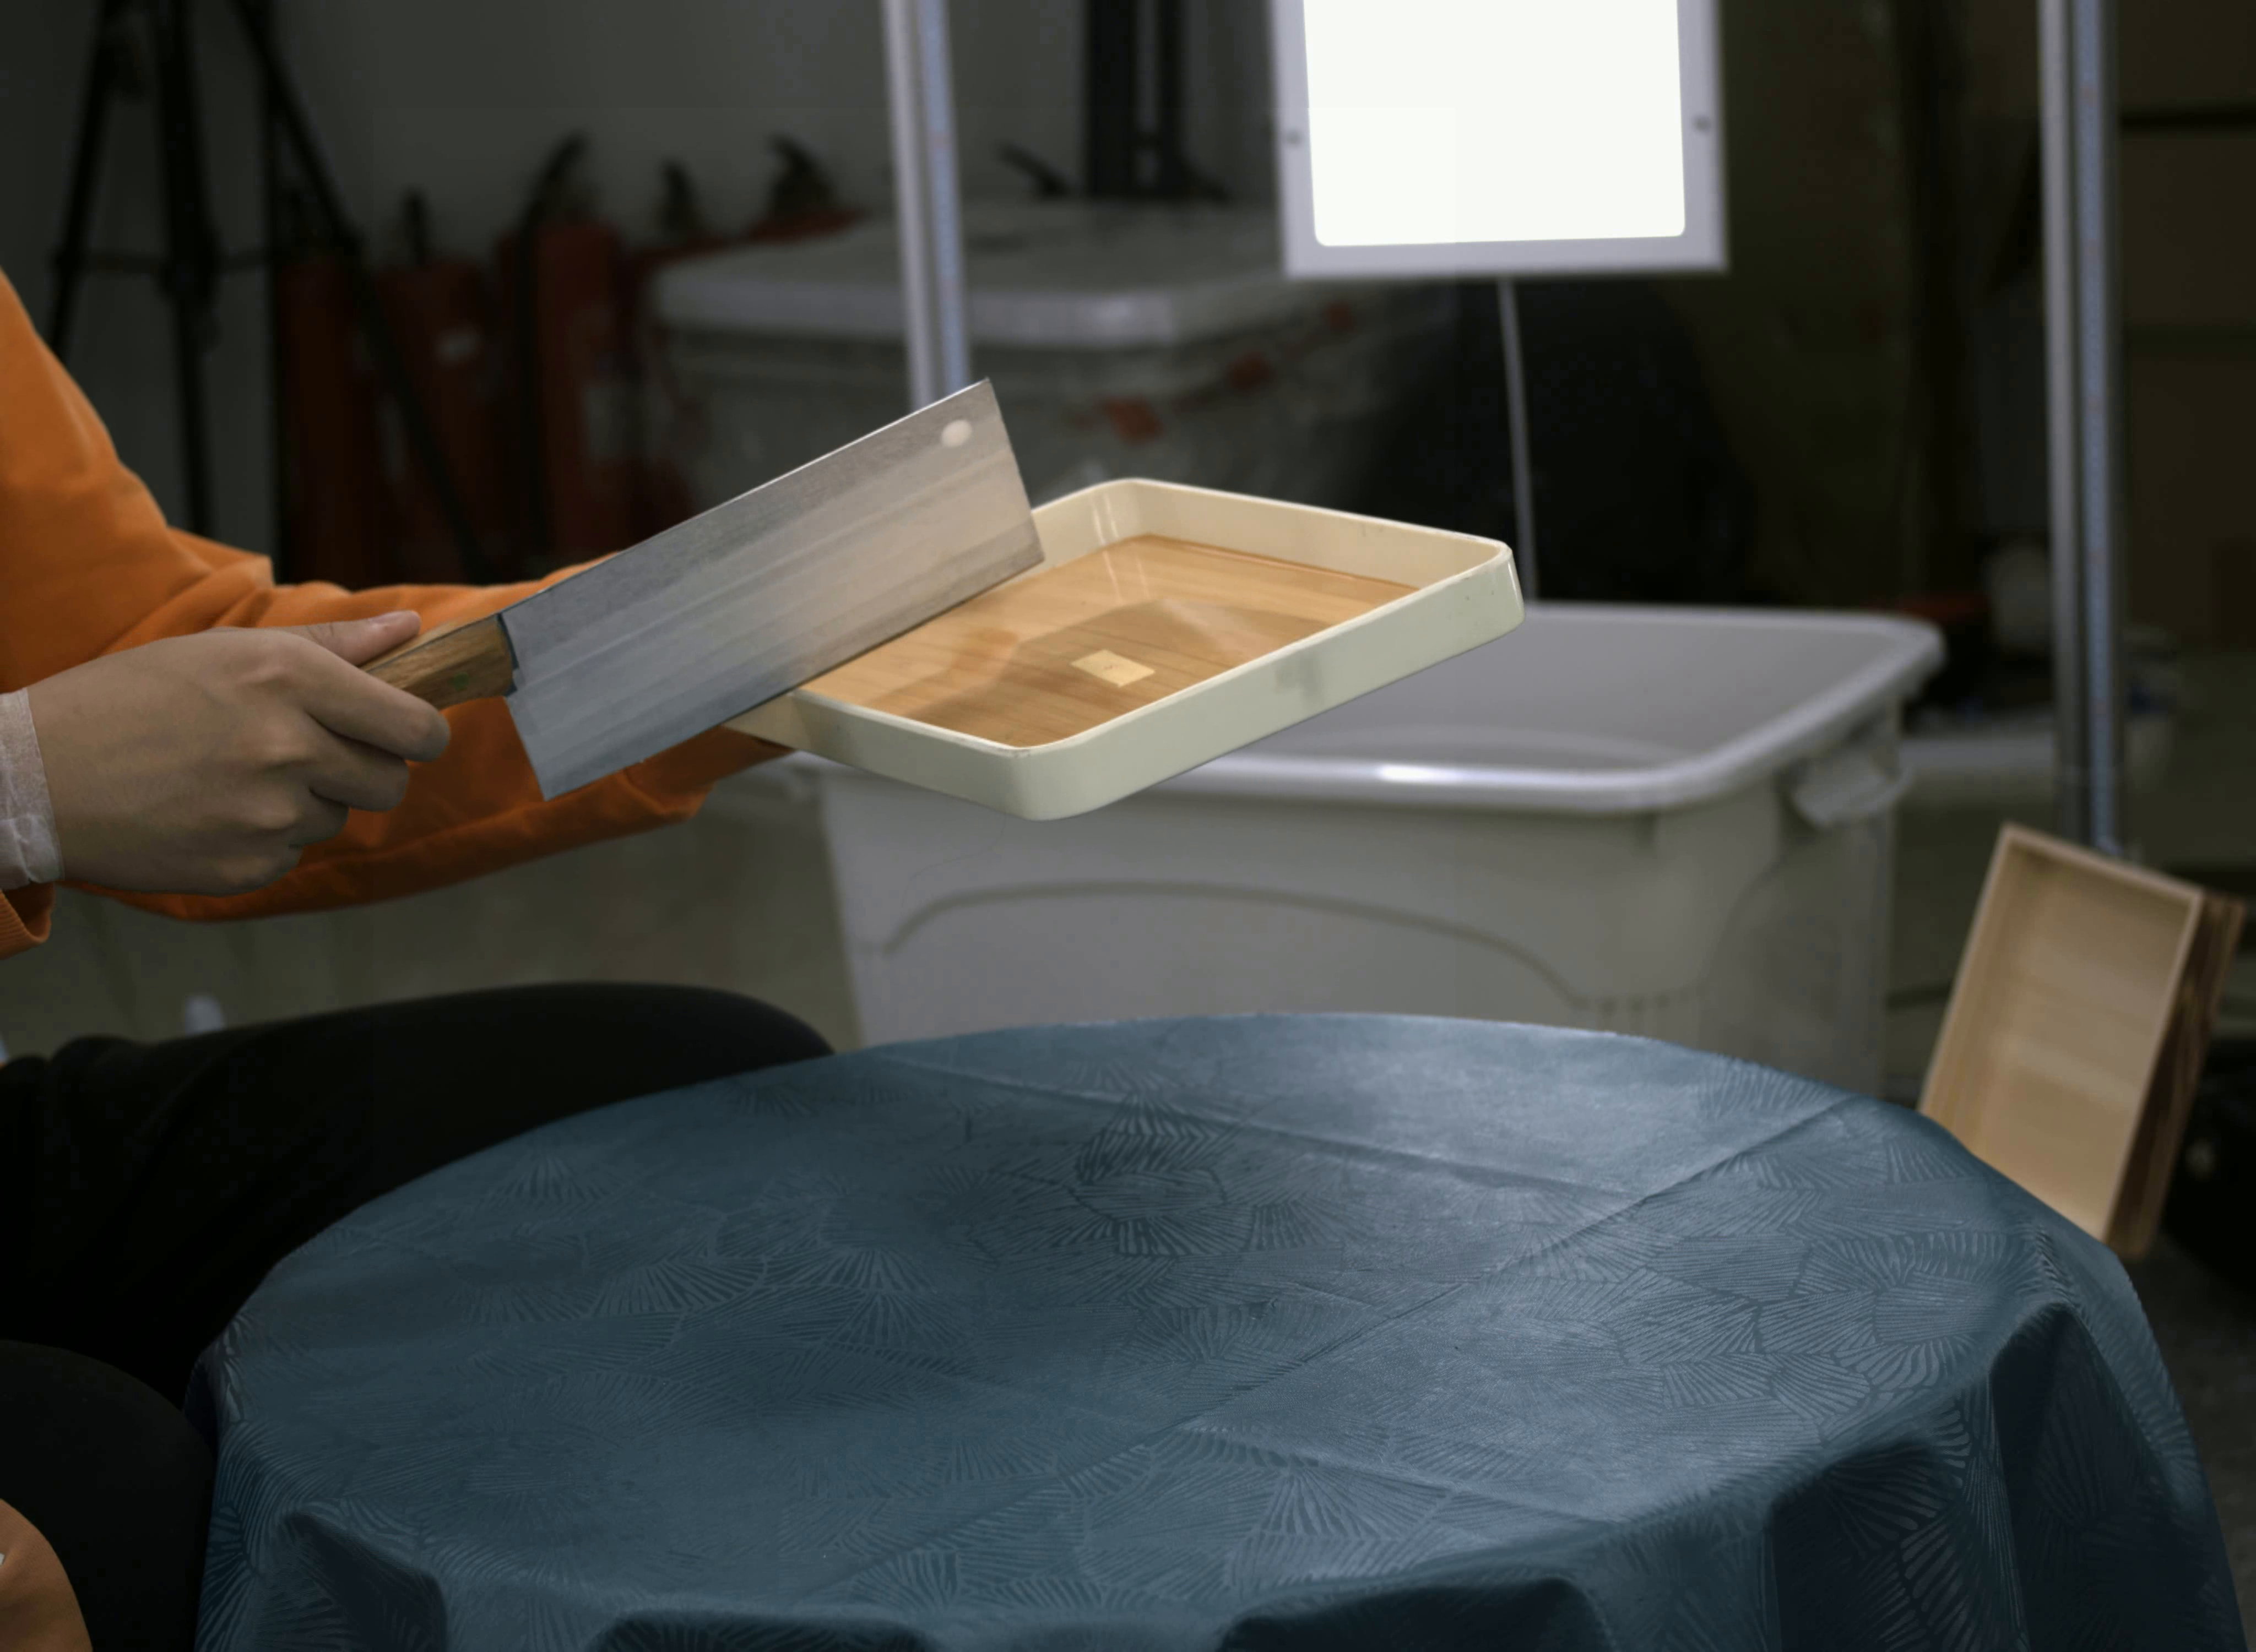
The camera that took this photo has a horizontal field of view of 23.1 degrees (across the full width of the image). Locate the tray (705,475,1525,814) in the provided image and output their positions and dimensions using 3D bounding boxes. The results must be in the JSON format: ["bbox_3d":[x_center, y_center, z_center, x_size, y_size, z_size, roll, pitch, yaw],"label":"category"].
[{"bbox_3d":[-0.013,-0.065,1.868,0.188,0.027,0.305,-24,17,-21],"label":"tray"}]

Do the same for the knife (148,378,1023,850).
[{"bbox_3d":[-0.174,-0.055,1.830,0.304,0.092,0.021,-26,49,-6],"label":"knife"}]
